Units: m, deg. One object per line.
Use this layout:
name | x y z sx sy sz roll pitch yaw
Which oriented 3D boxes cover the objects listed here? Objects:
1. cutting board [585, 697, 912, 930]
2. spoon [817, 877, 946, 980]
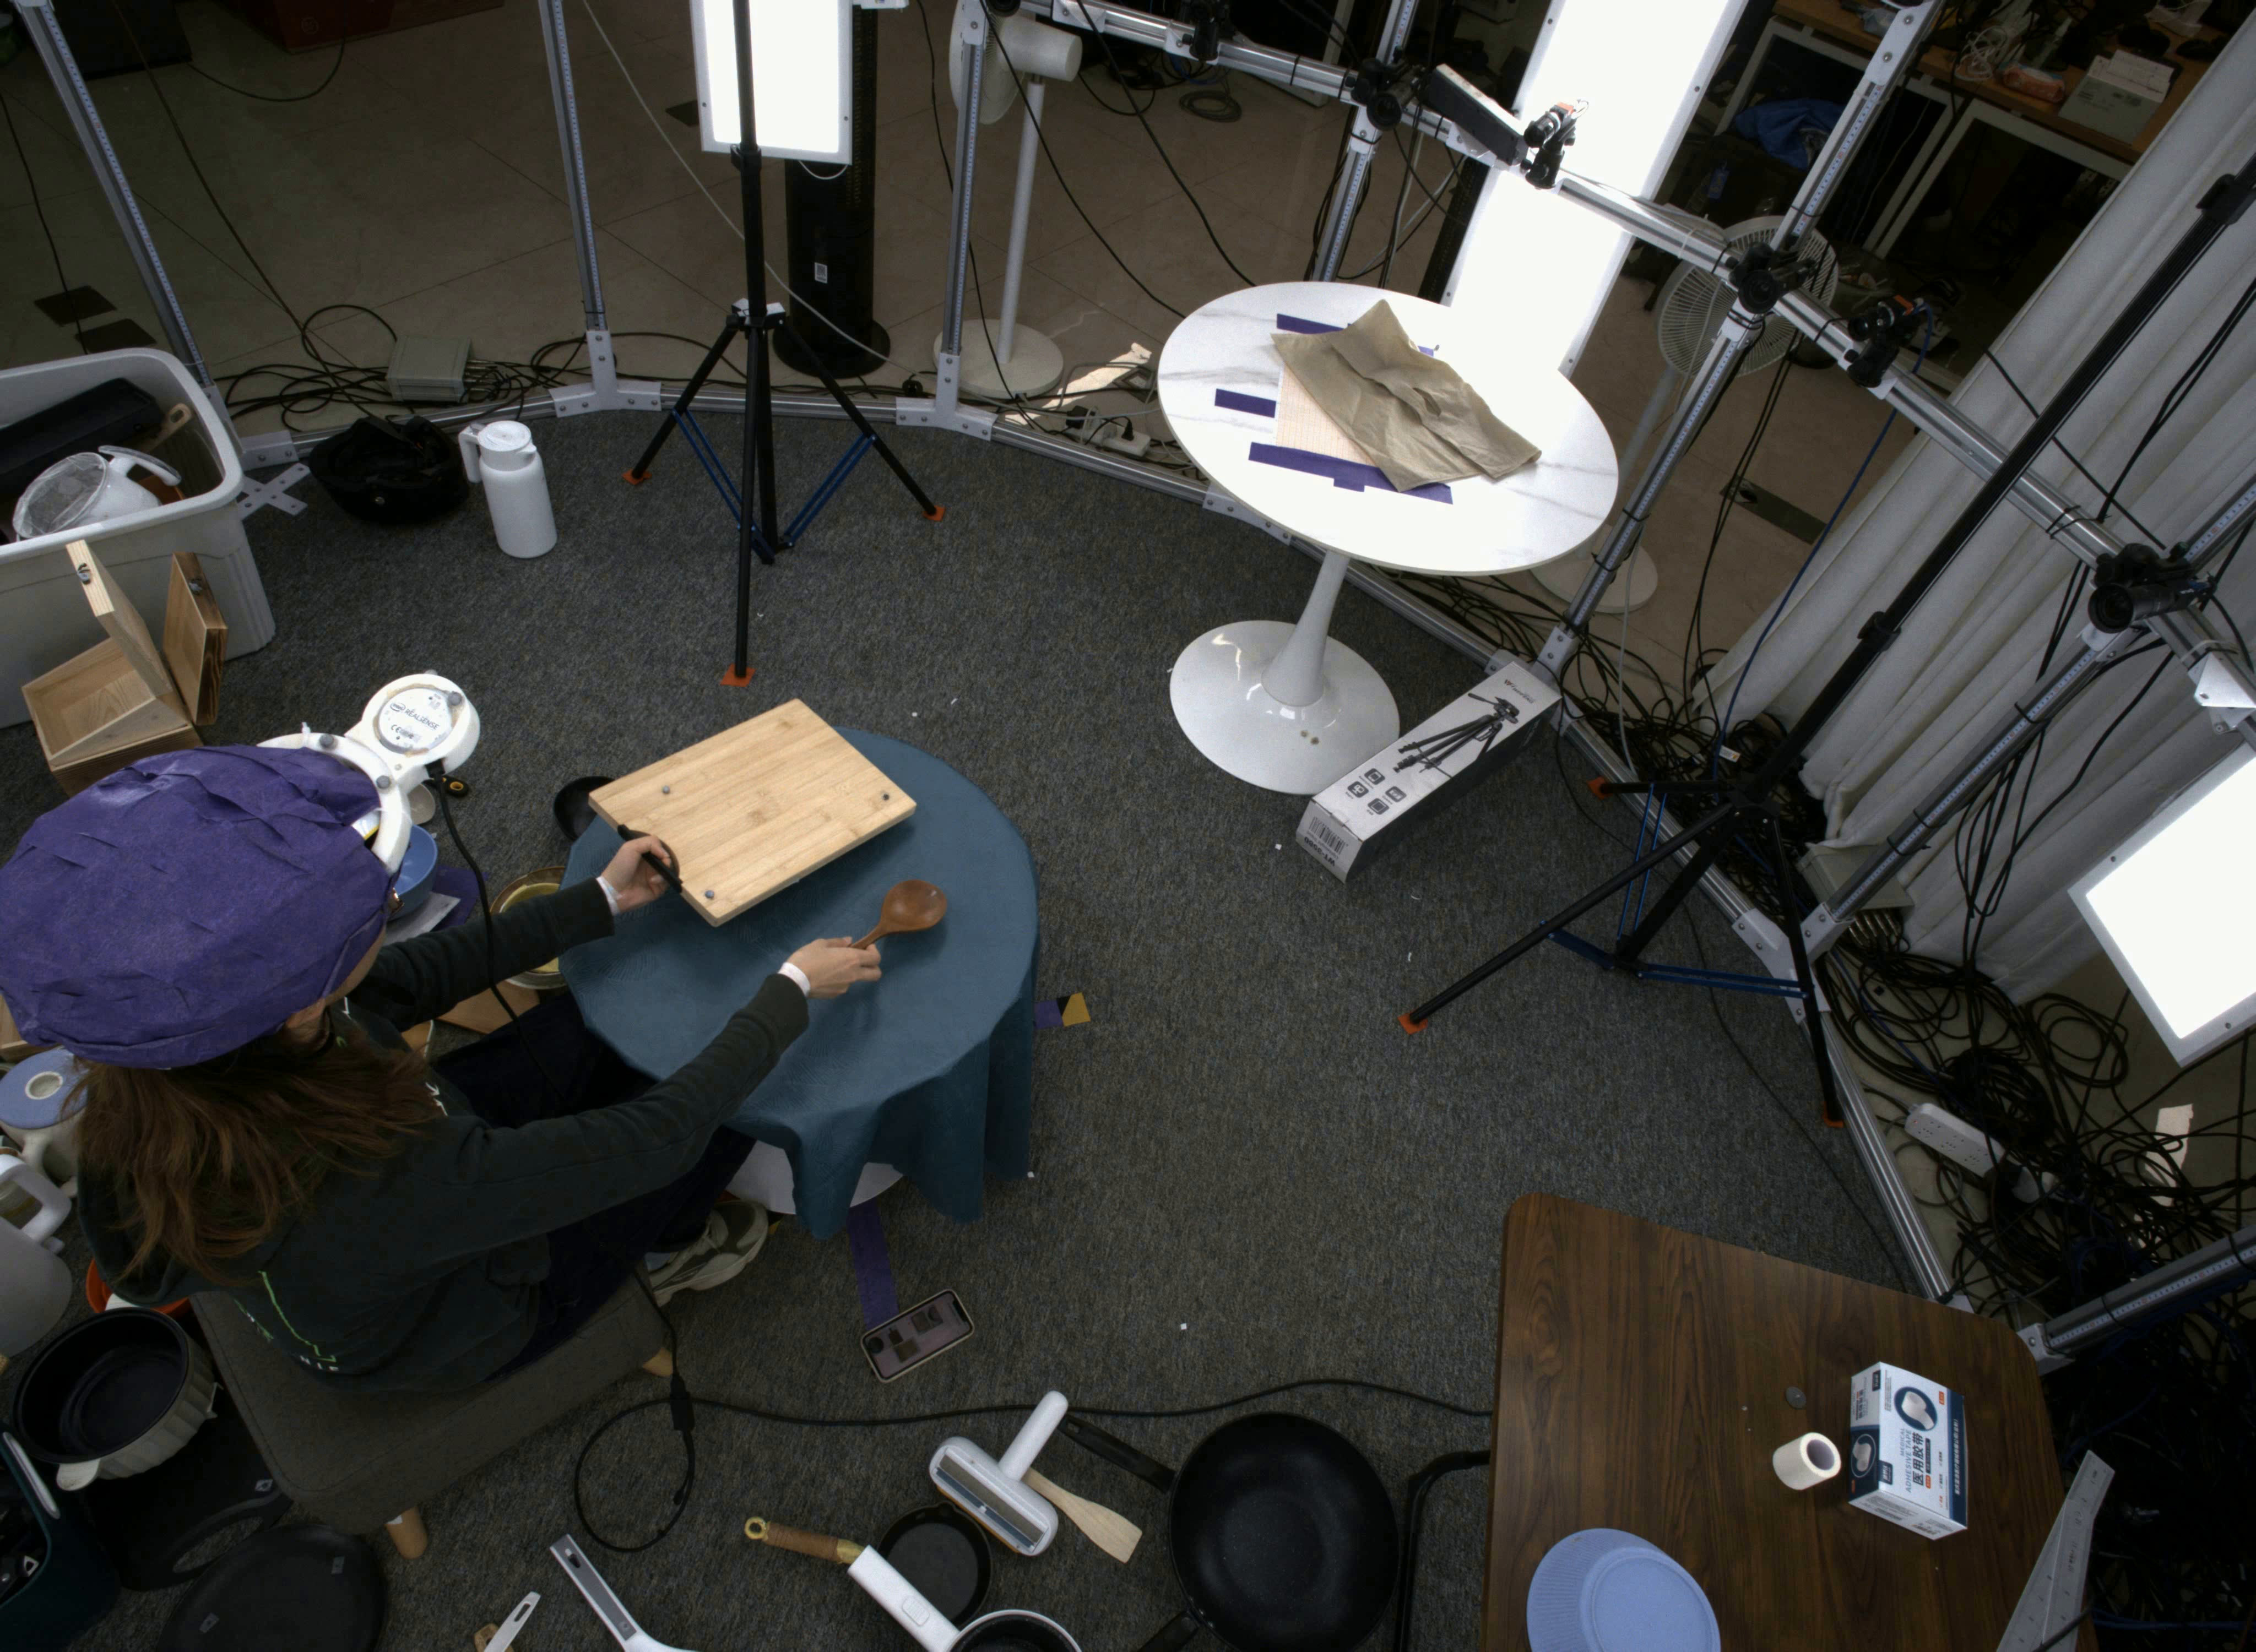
cutting board | -0.476 -0.028 1.646 0.246 0.024 0.349 40 43 13
spoon | -0.304 0.126 1.598 0.075 0.017 0.216 42 41 7
